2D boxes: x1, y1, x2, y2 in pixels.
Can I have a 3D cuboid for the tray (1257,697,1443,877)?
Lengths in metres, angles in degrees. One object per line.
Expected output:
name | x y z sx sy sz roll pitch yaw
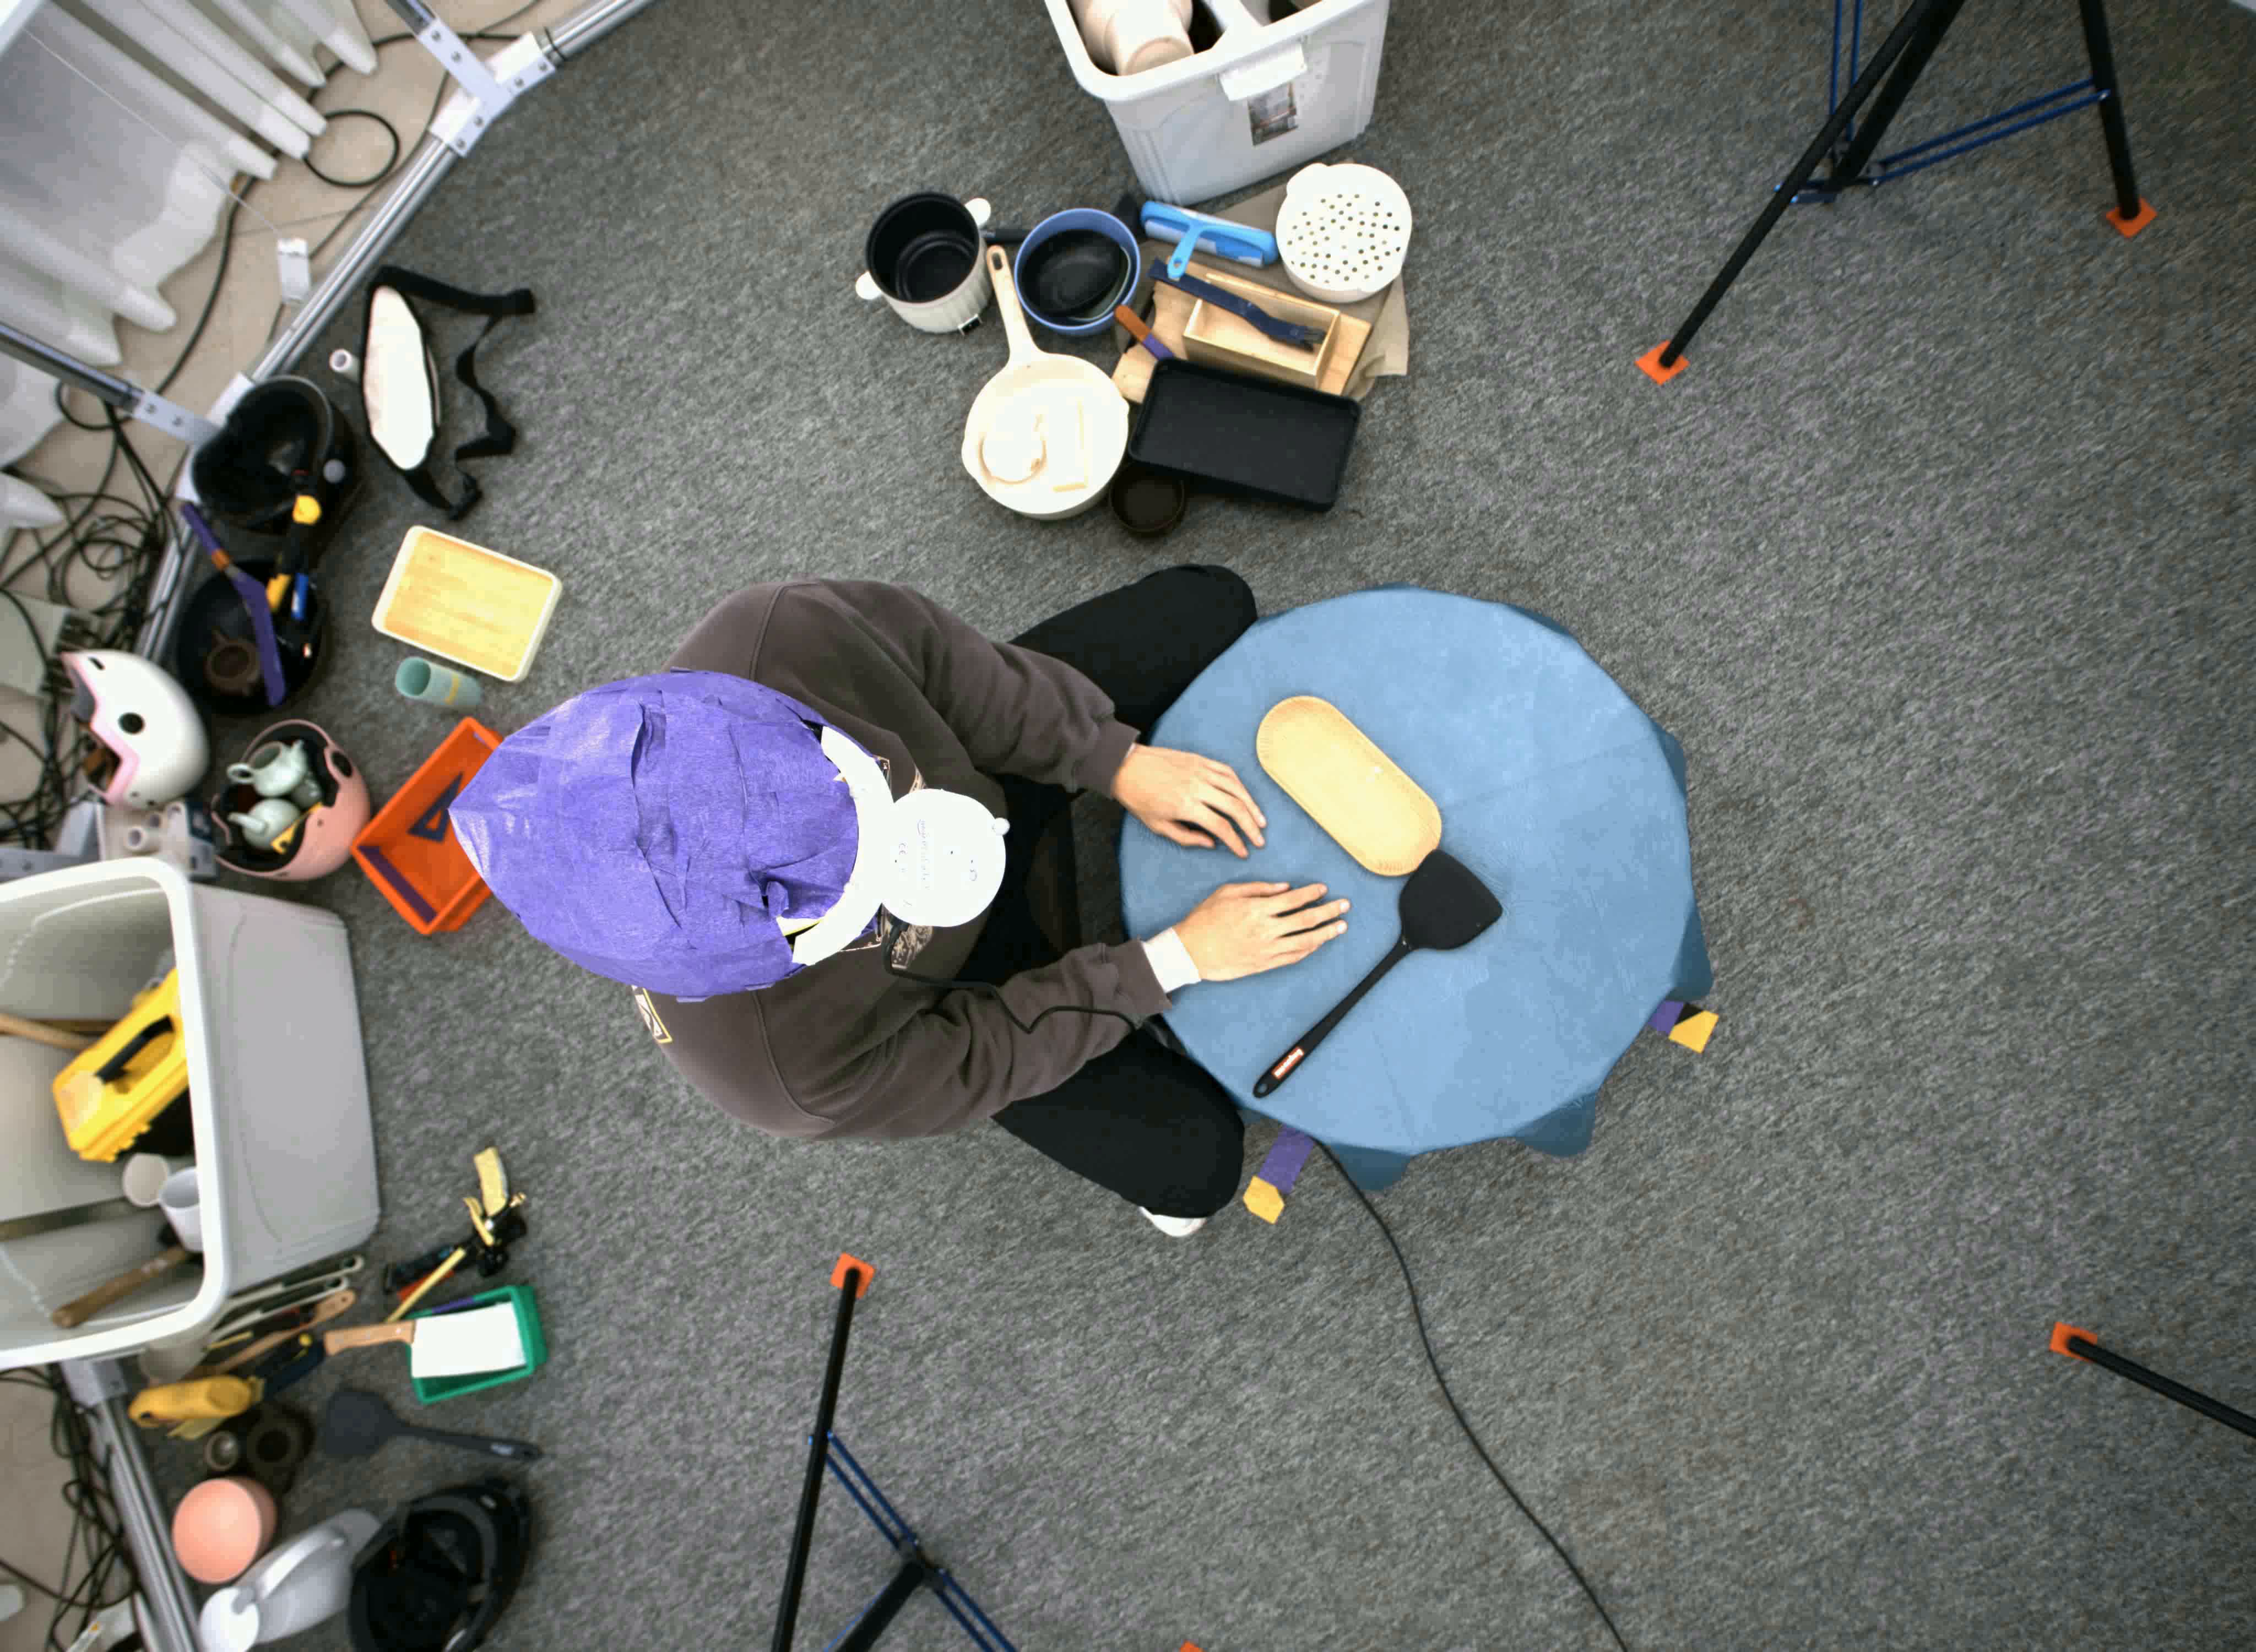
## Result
tray | 0.234 -0.043 1.462 0.230 0.020 0.102 45 96 8

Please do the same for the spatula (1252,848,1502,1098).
spatula | 0.244 0.166 1.440 0.099 0.040 0.327 45 95 11
